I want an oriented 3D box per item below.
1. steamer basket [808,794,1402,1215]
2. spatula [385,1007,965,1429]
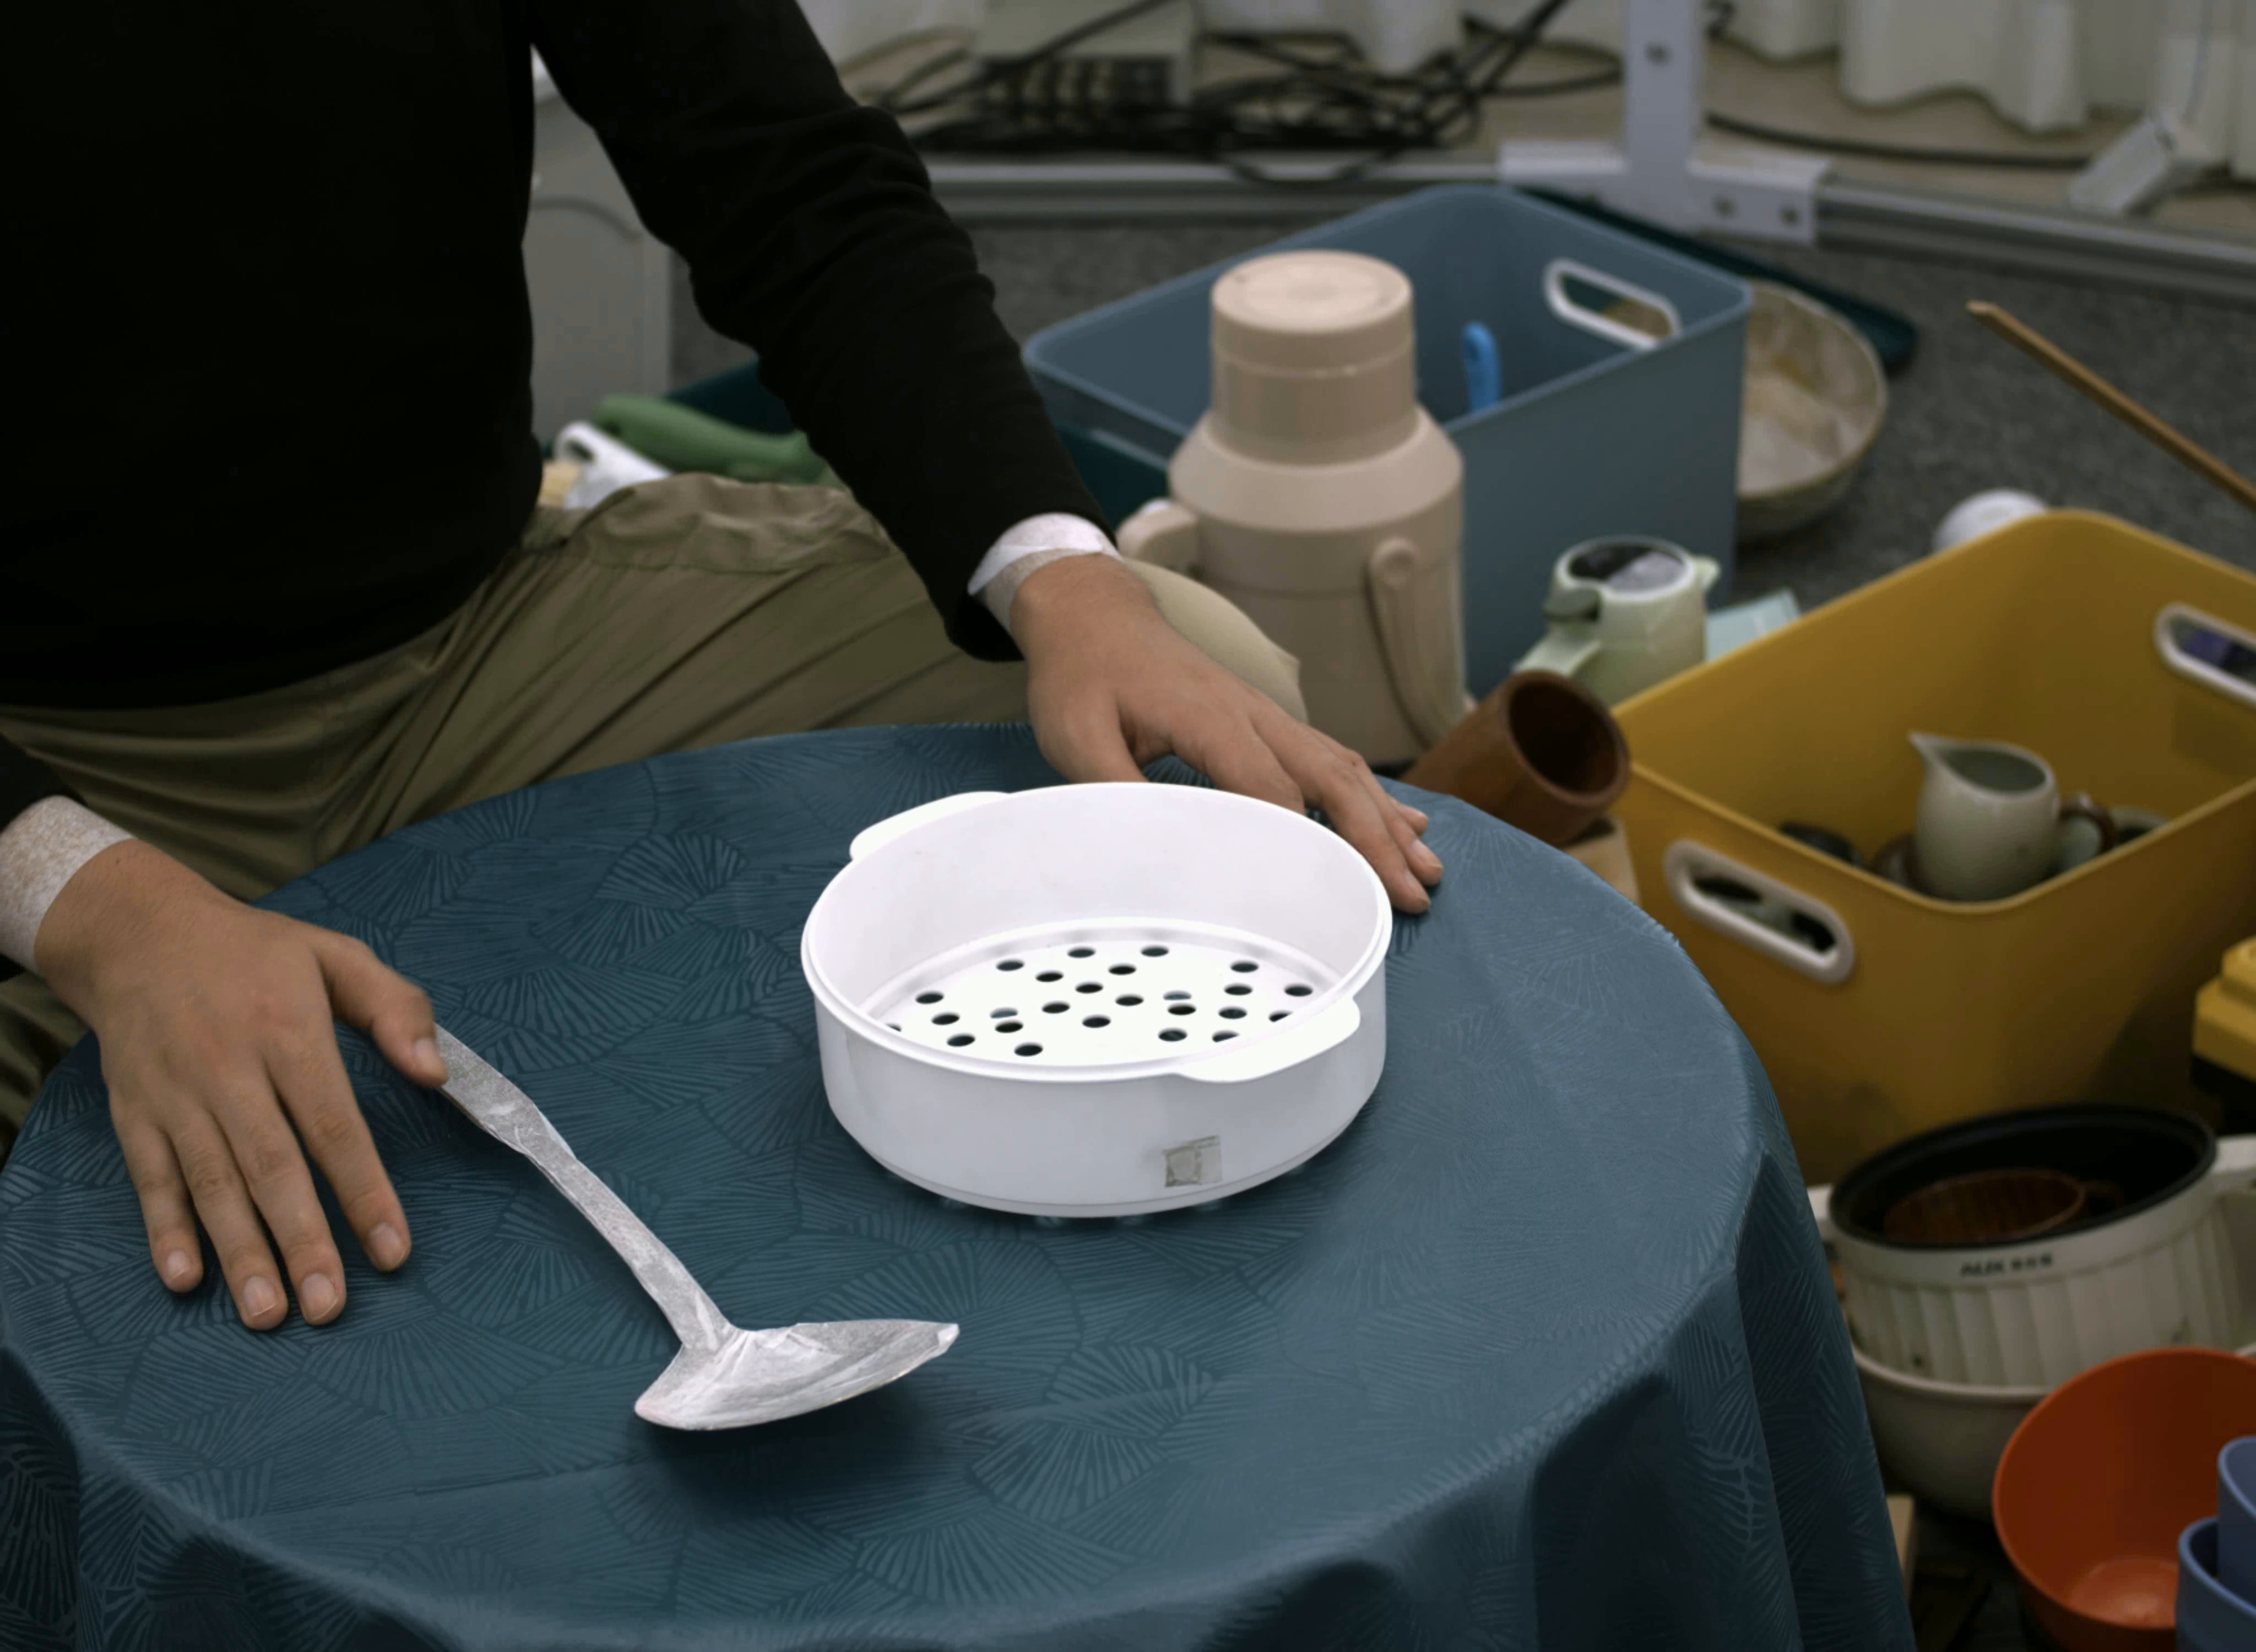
[{"bbox_3d":[-0.006,0.061,1.904,0.203,0.068,0.231,-19,30,-31],"label":"steamer basket"},{"bbox_3d":[-0.173,0.120,1.842,0.099,0.044,0.366,-19,31,-25],"label":"spatula"}]
